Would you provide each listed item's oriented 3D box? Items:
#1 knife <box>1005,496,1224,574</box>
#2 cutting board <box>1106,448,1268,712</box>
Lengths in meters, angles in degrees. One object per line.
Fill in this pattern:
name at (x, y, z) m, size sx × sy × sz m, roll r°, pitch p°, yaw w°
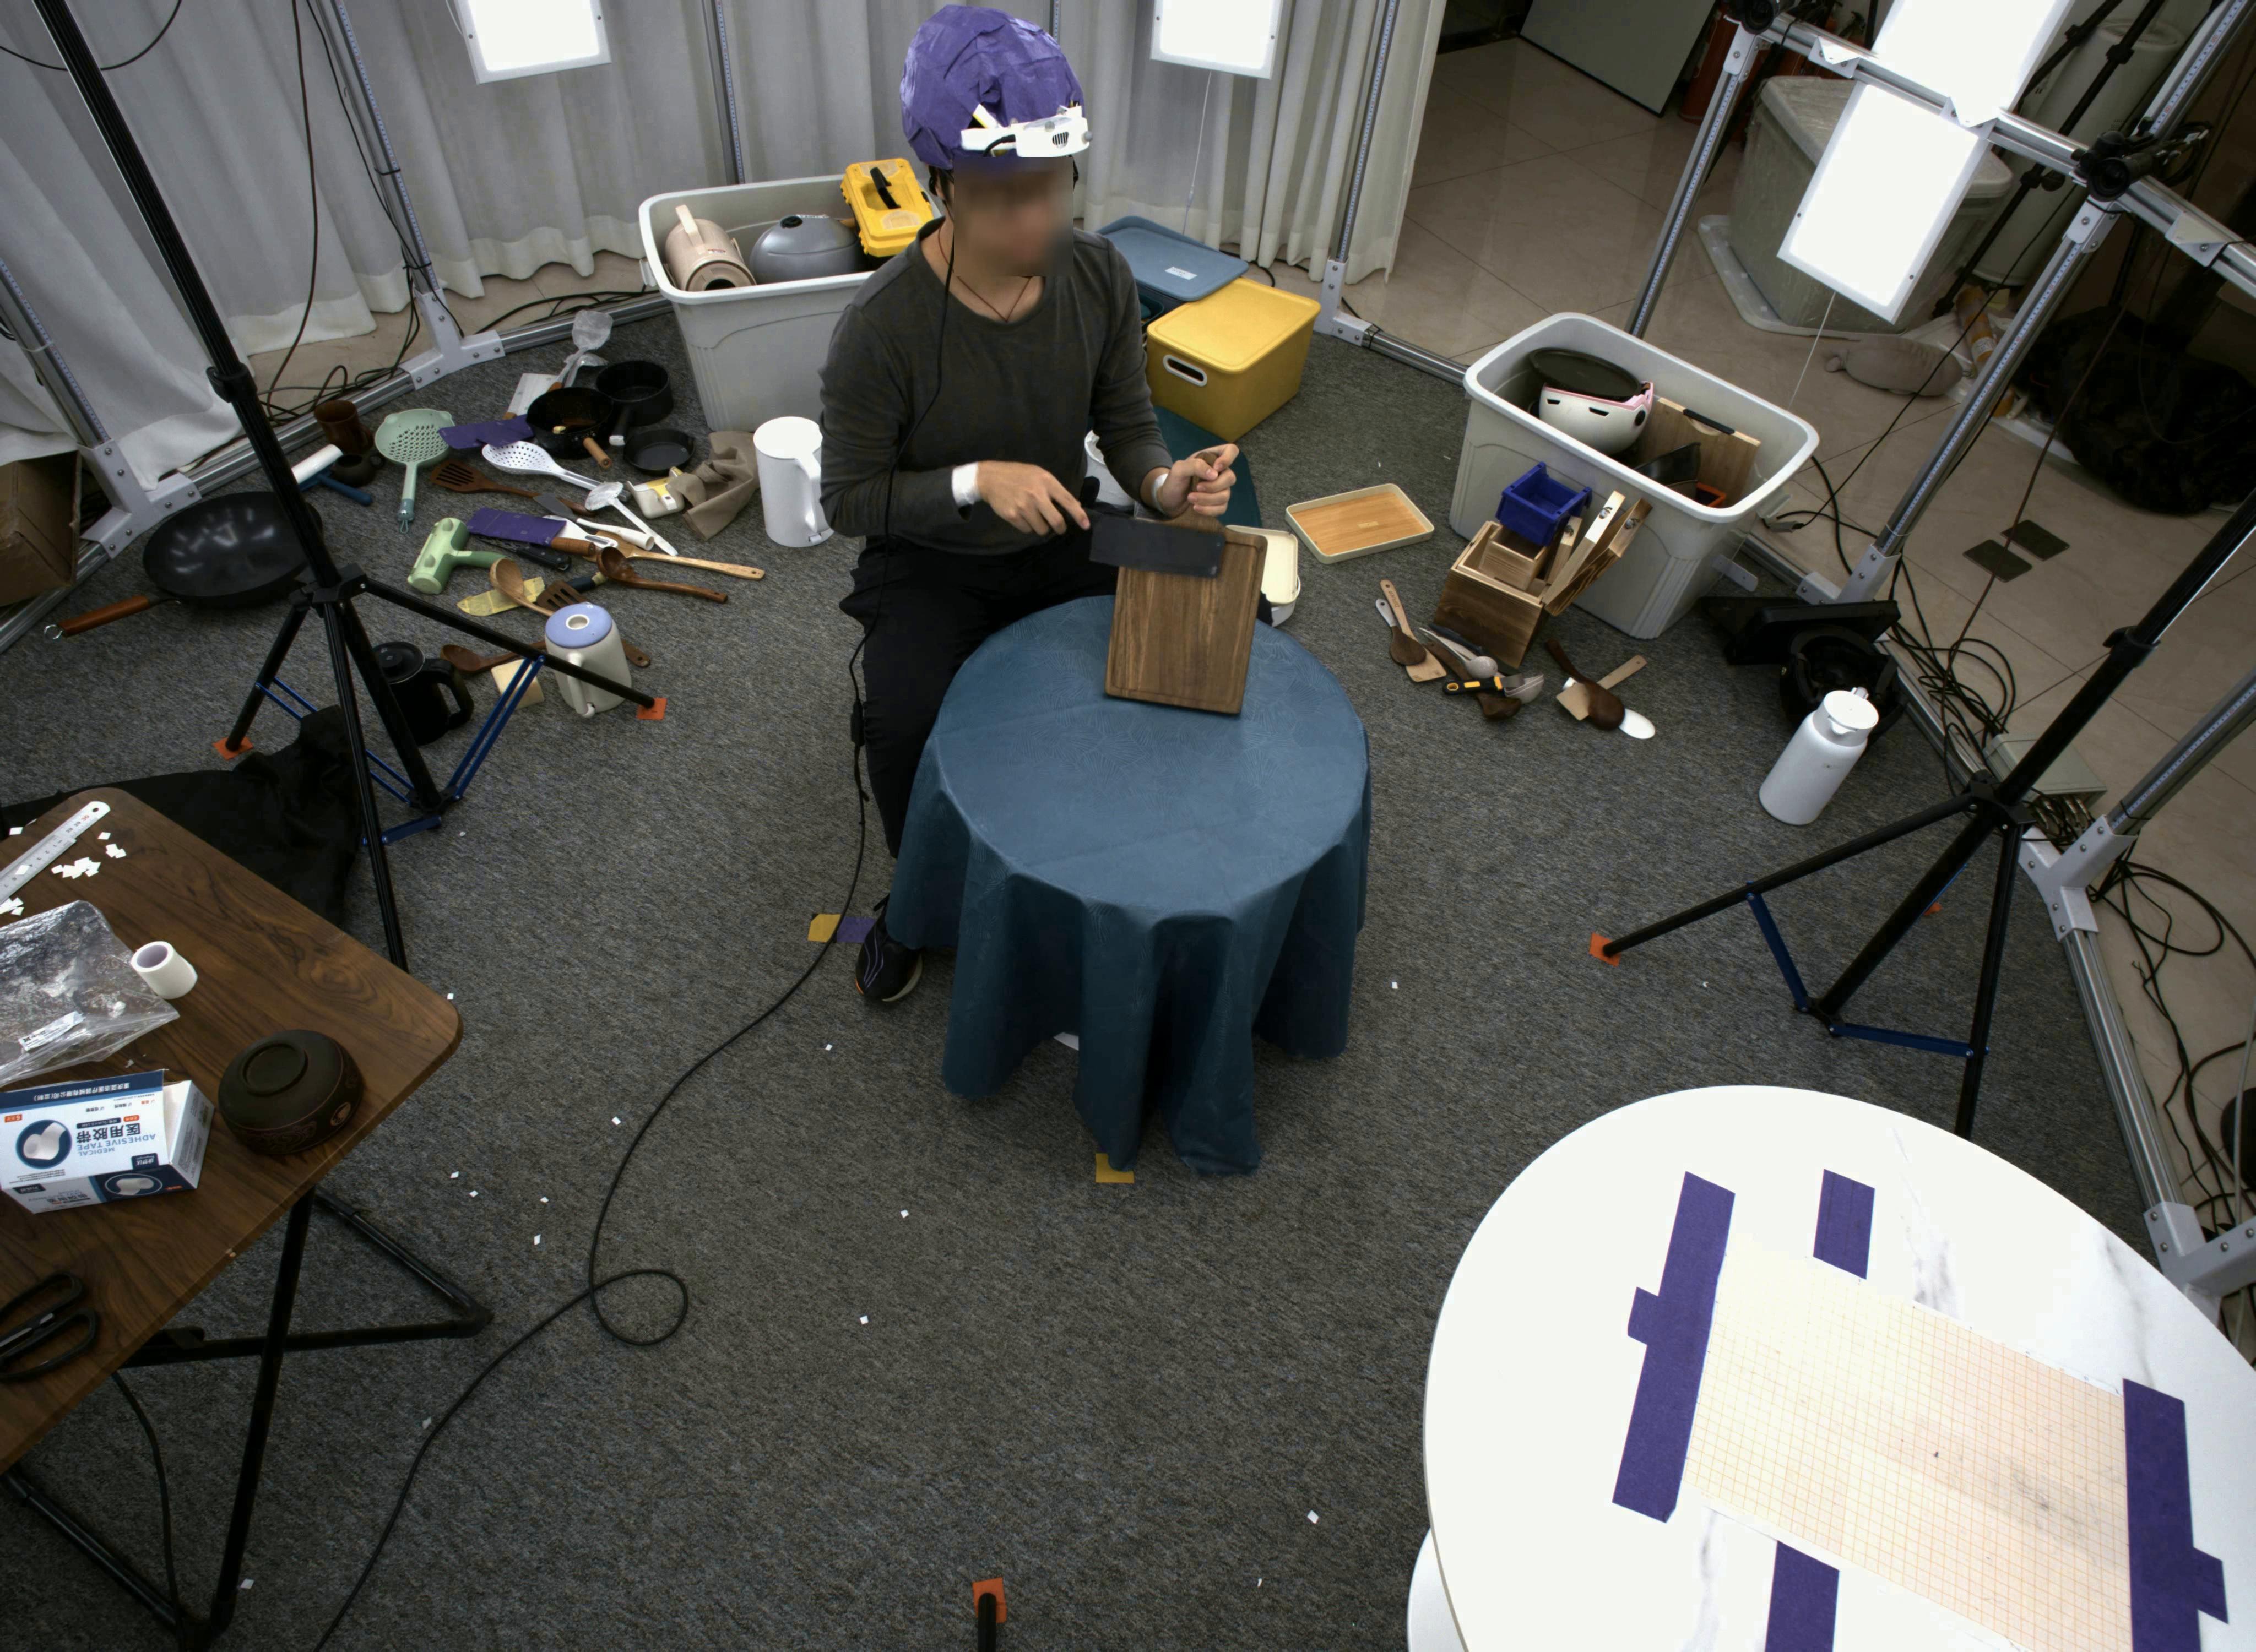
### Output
knife at (-0.020, -0.397, 1.748) m, size 0.303 × 0.080 × 0.021 m, roll 15°, pitch 21°, yaw 6°
cutting board at (0.085, -0.336, 1.764) m, size 0.201 × 0.347 × 0.023 m, roll 8°, pitch 17°, yaw 3°
